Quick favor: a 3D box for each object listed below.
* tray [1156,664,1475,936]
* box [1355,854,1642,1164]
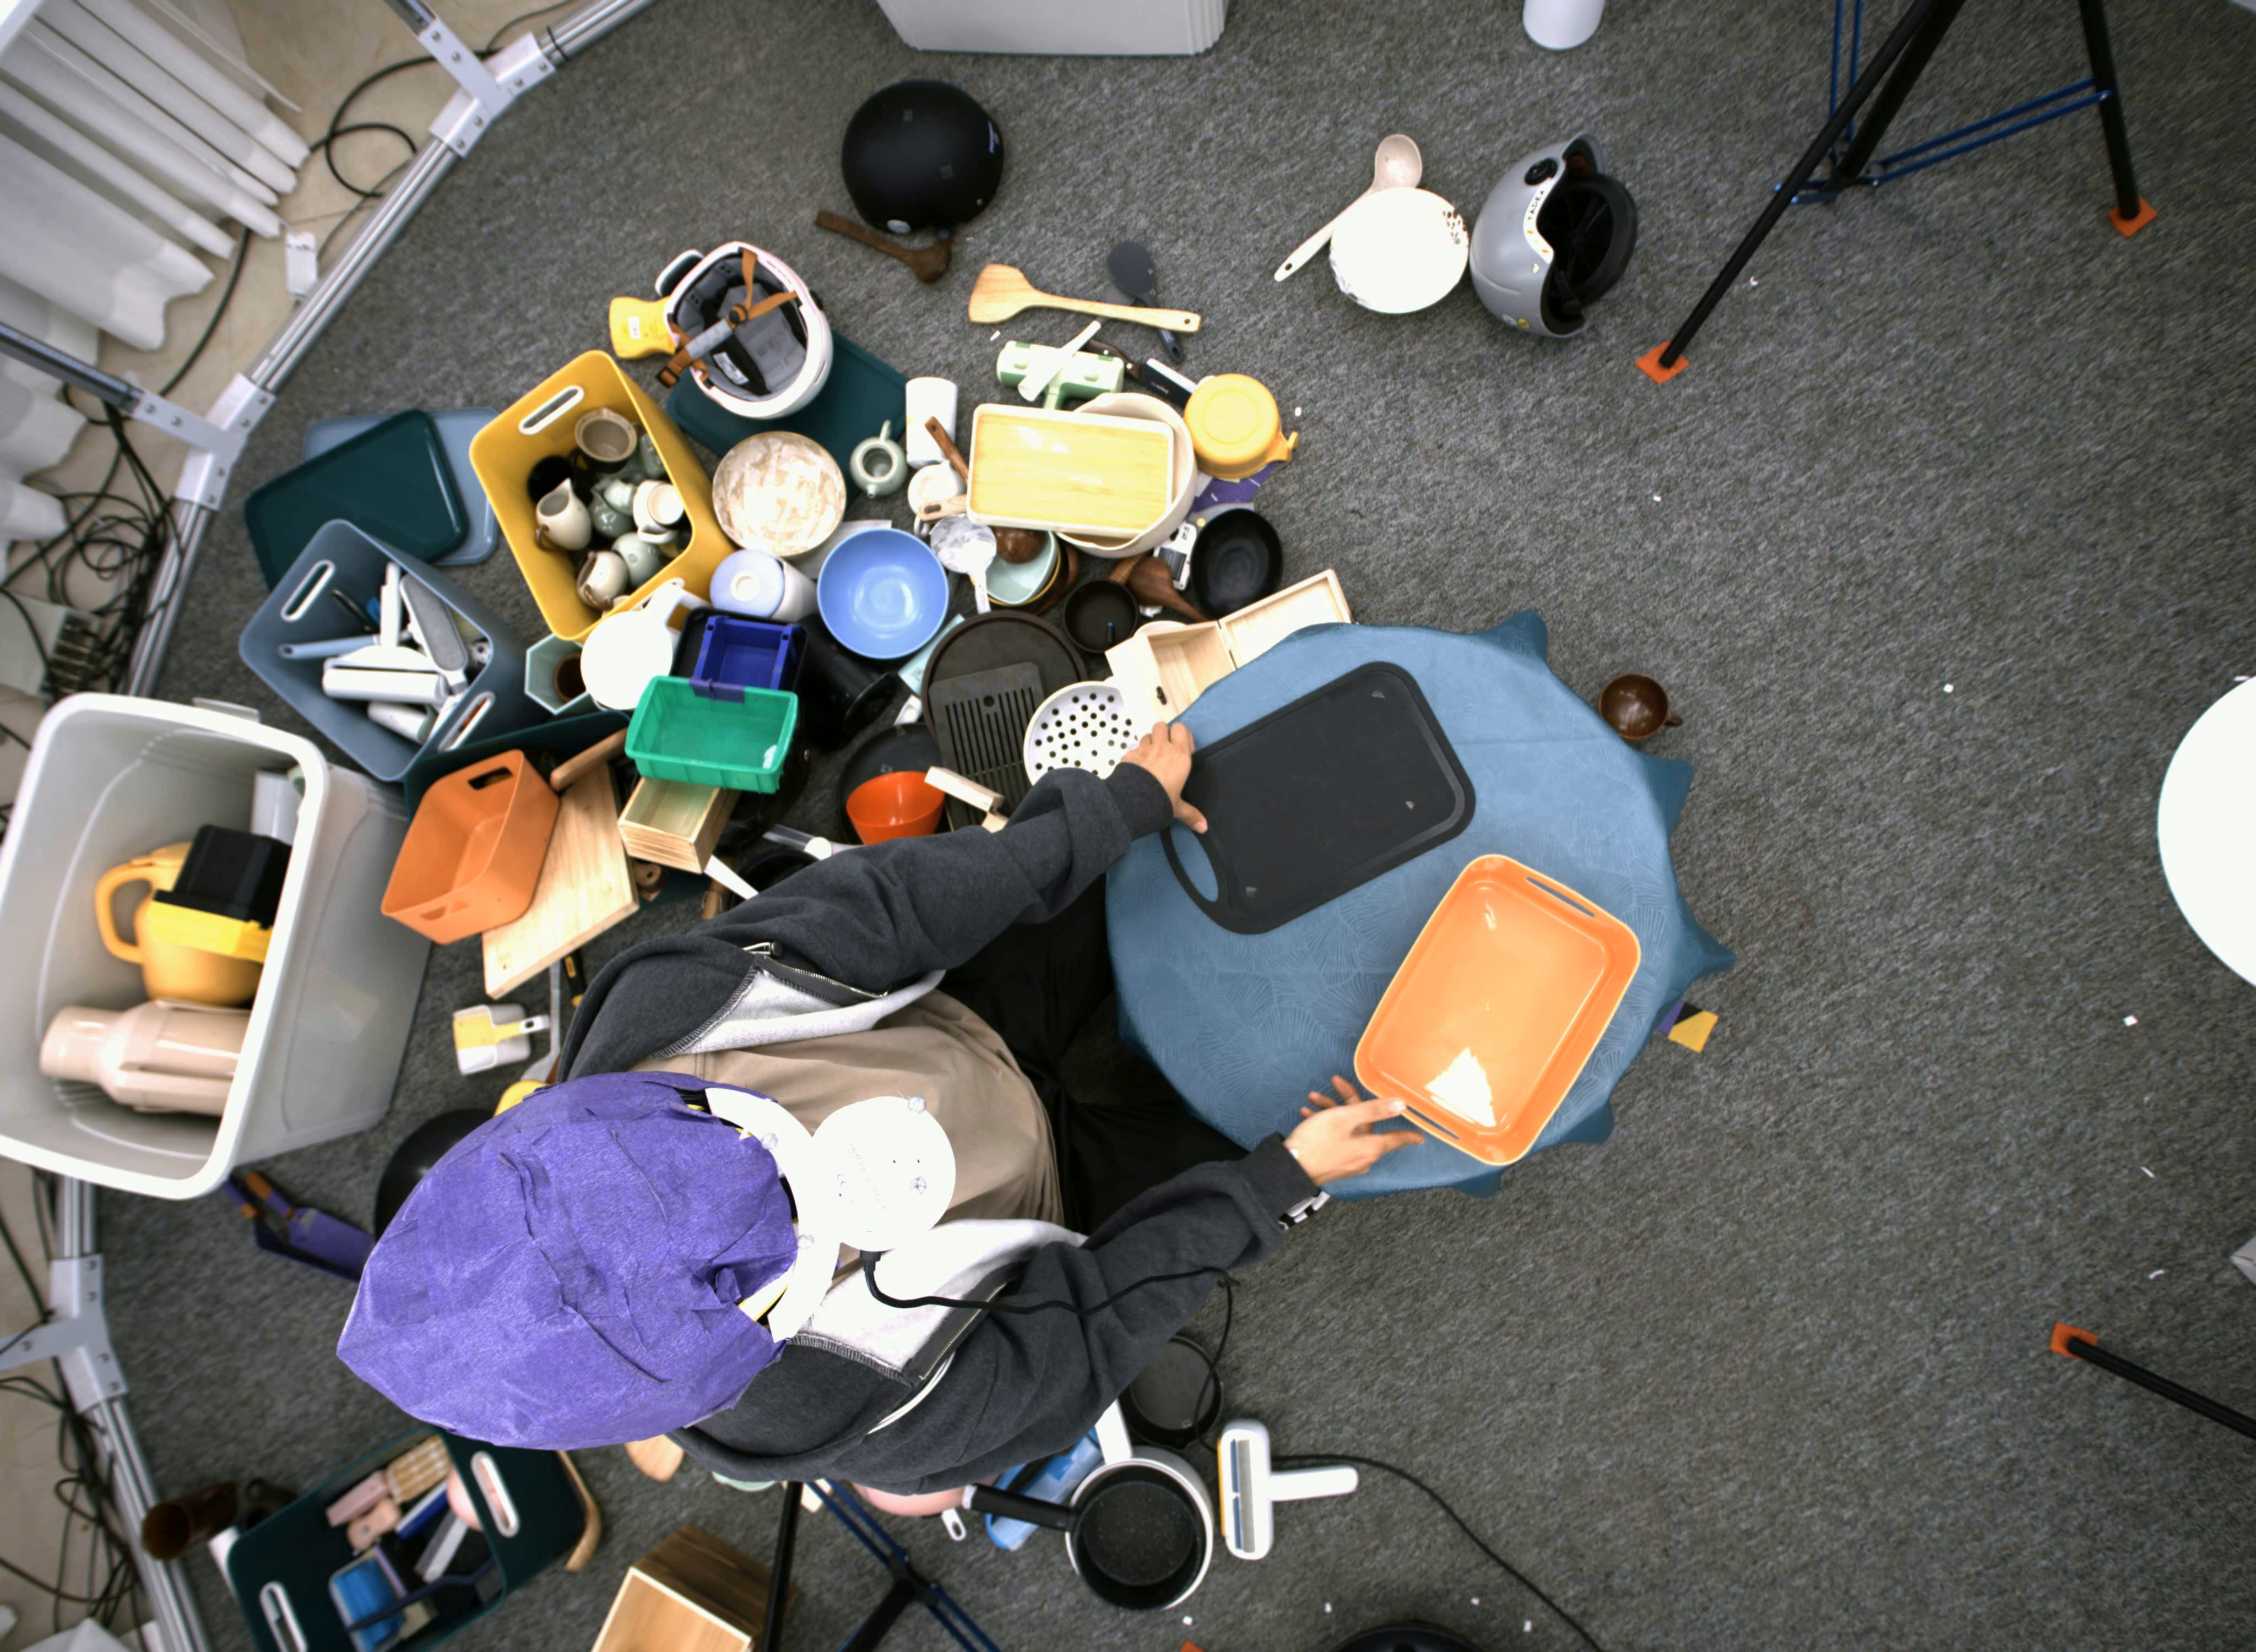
[{"bbox_3d":[0.192,-0.025,1.476,0.327,0.010,0.210,-28,82,8],"label":"tray"},{"bbox_3d":[0.364,0.178,1.383,0.199,0.102,0.273,31,92,11],"label":"box"}]
